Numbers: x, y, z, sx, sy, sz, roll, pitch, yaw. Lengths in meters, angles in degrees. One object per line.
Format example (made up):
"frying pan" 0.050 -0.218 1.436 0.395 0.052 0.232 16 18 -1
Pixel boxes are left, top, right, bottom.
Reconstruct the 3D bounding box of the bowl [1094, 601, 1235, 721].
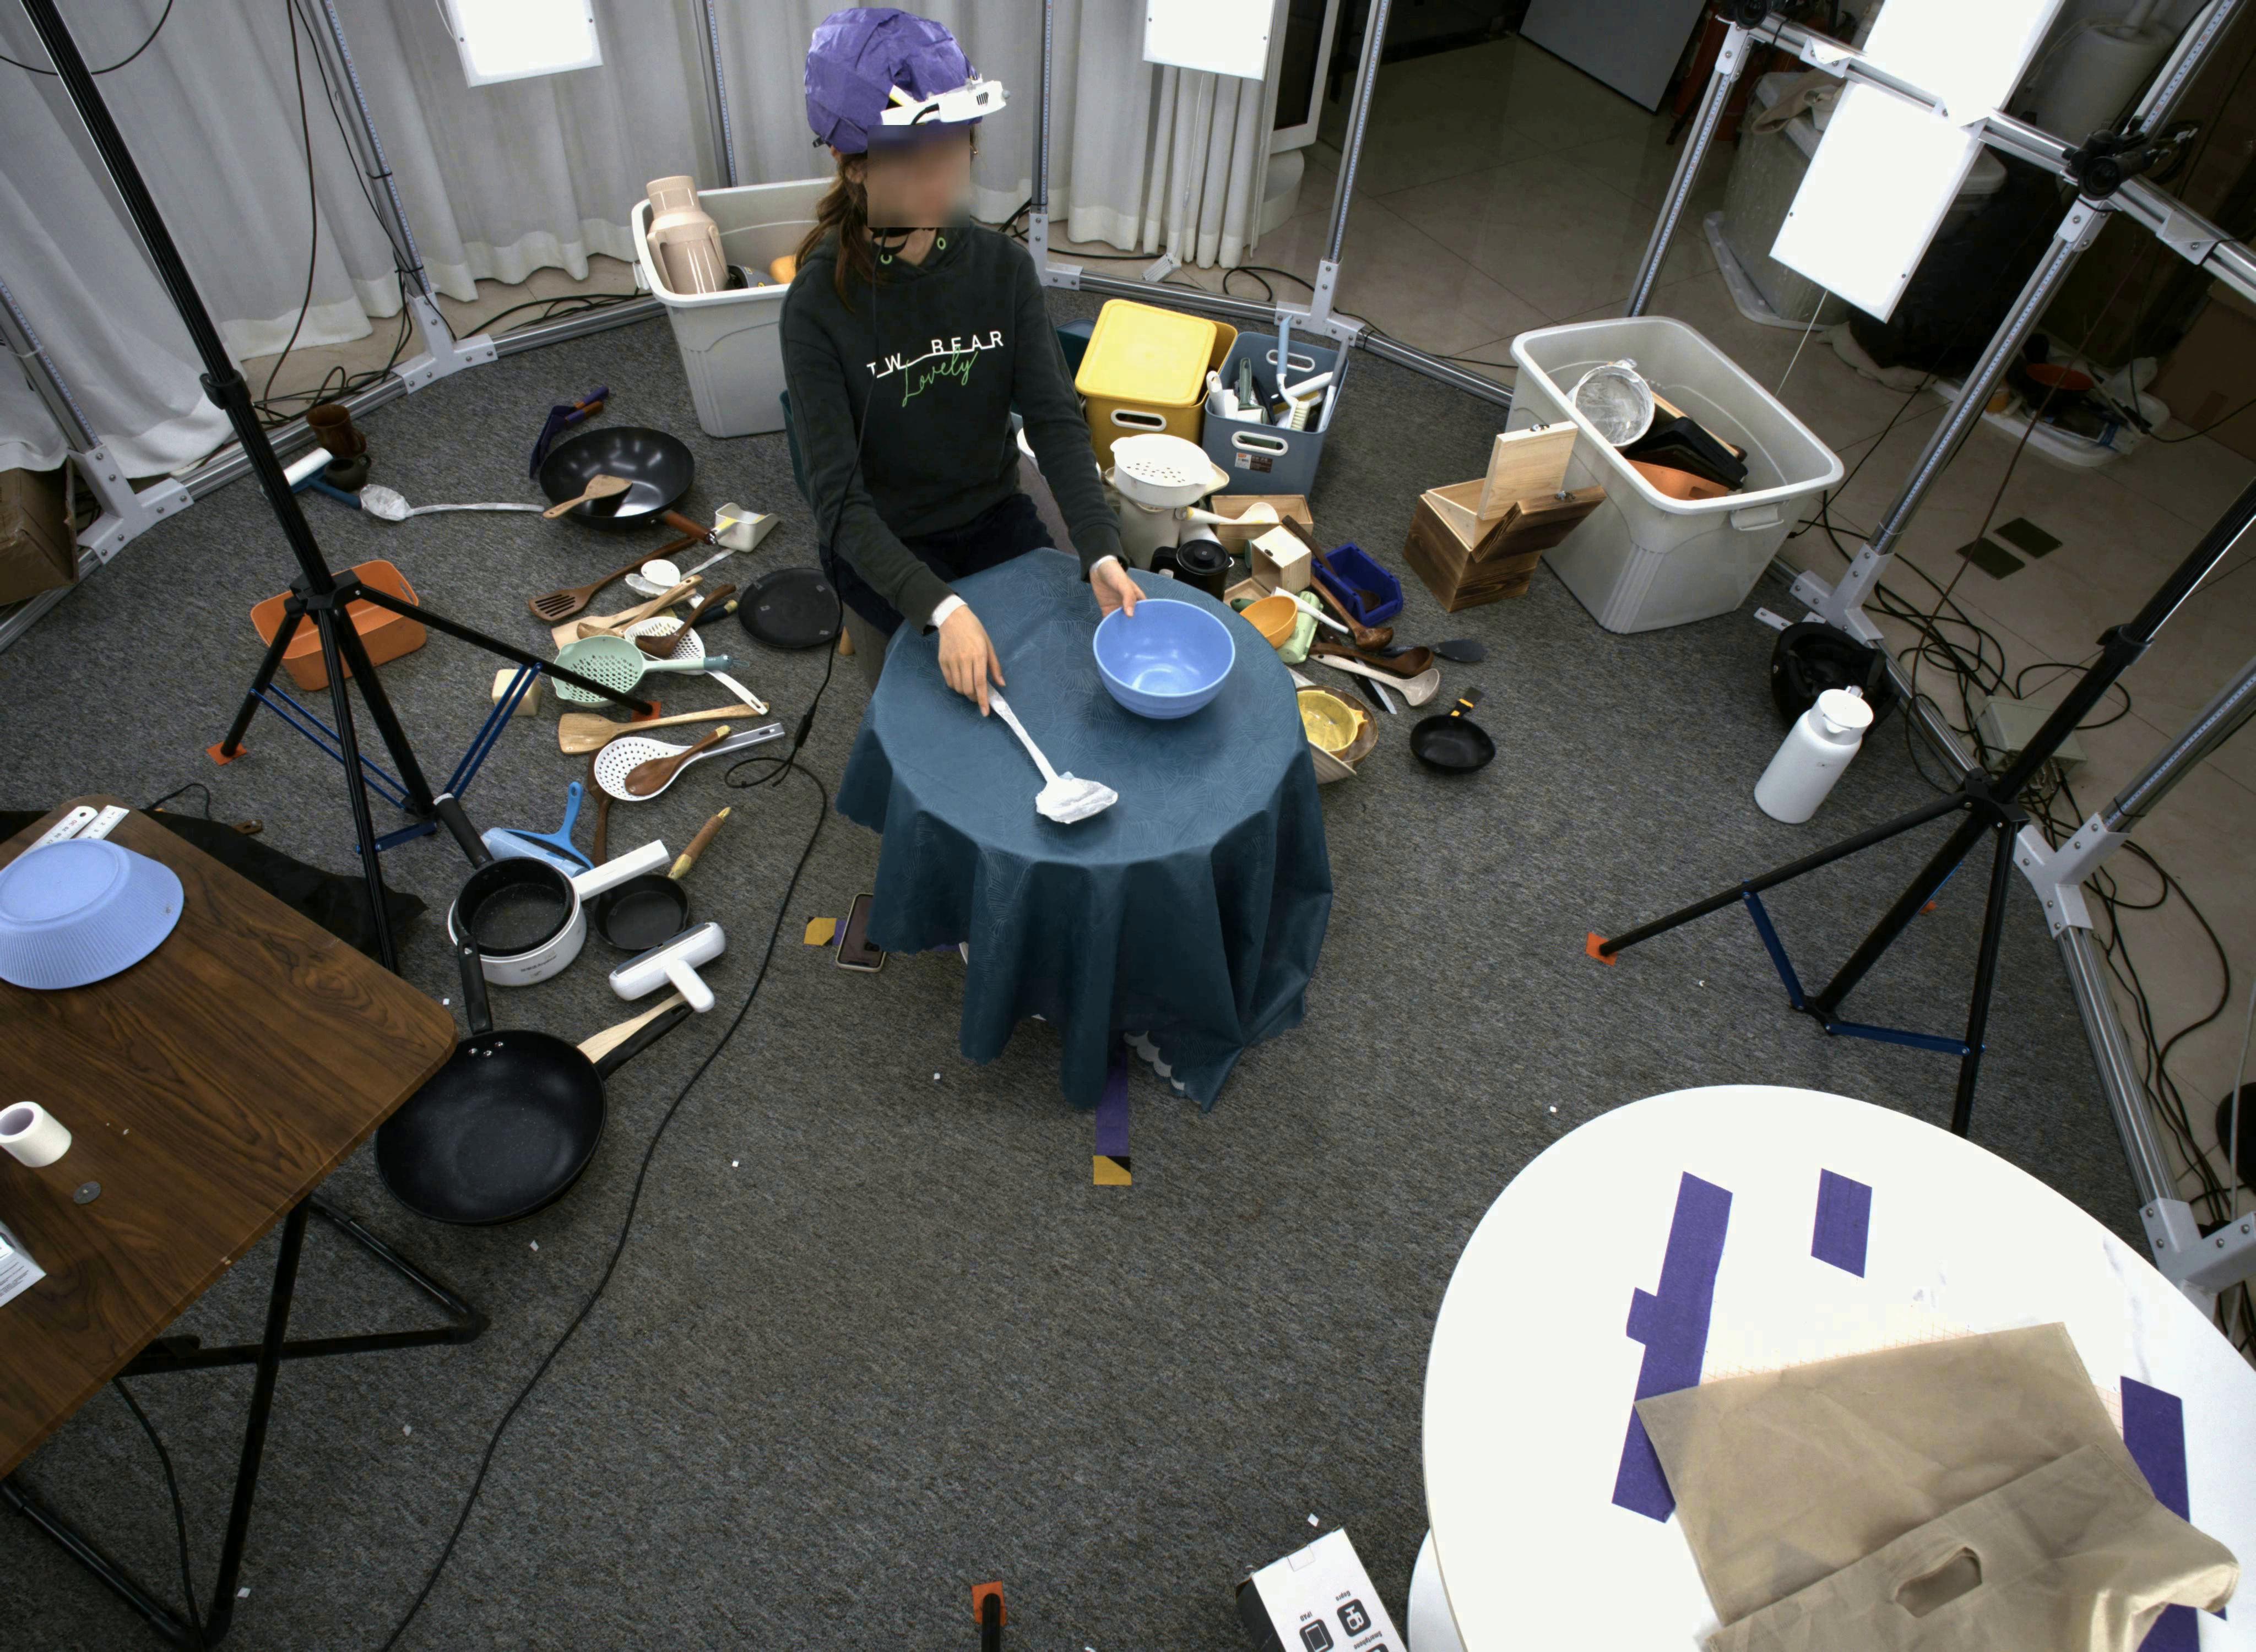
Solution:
"bowl" 0.048 -0.218 1.816 0.196 0.093 0.201 1 50 -2

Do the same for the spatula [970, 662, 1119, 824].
"spatula" -0.137 -0.125 1.758 0.099 0.043 0.372 -23 54 -20
